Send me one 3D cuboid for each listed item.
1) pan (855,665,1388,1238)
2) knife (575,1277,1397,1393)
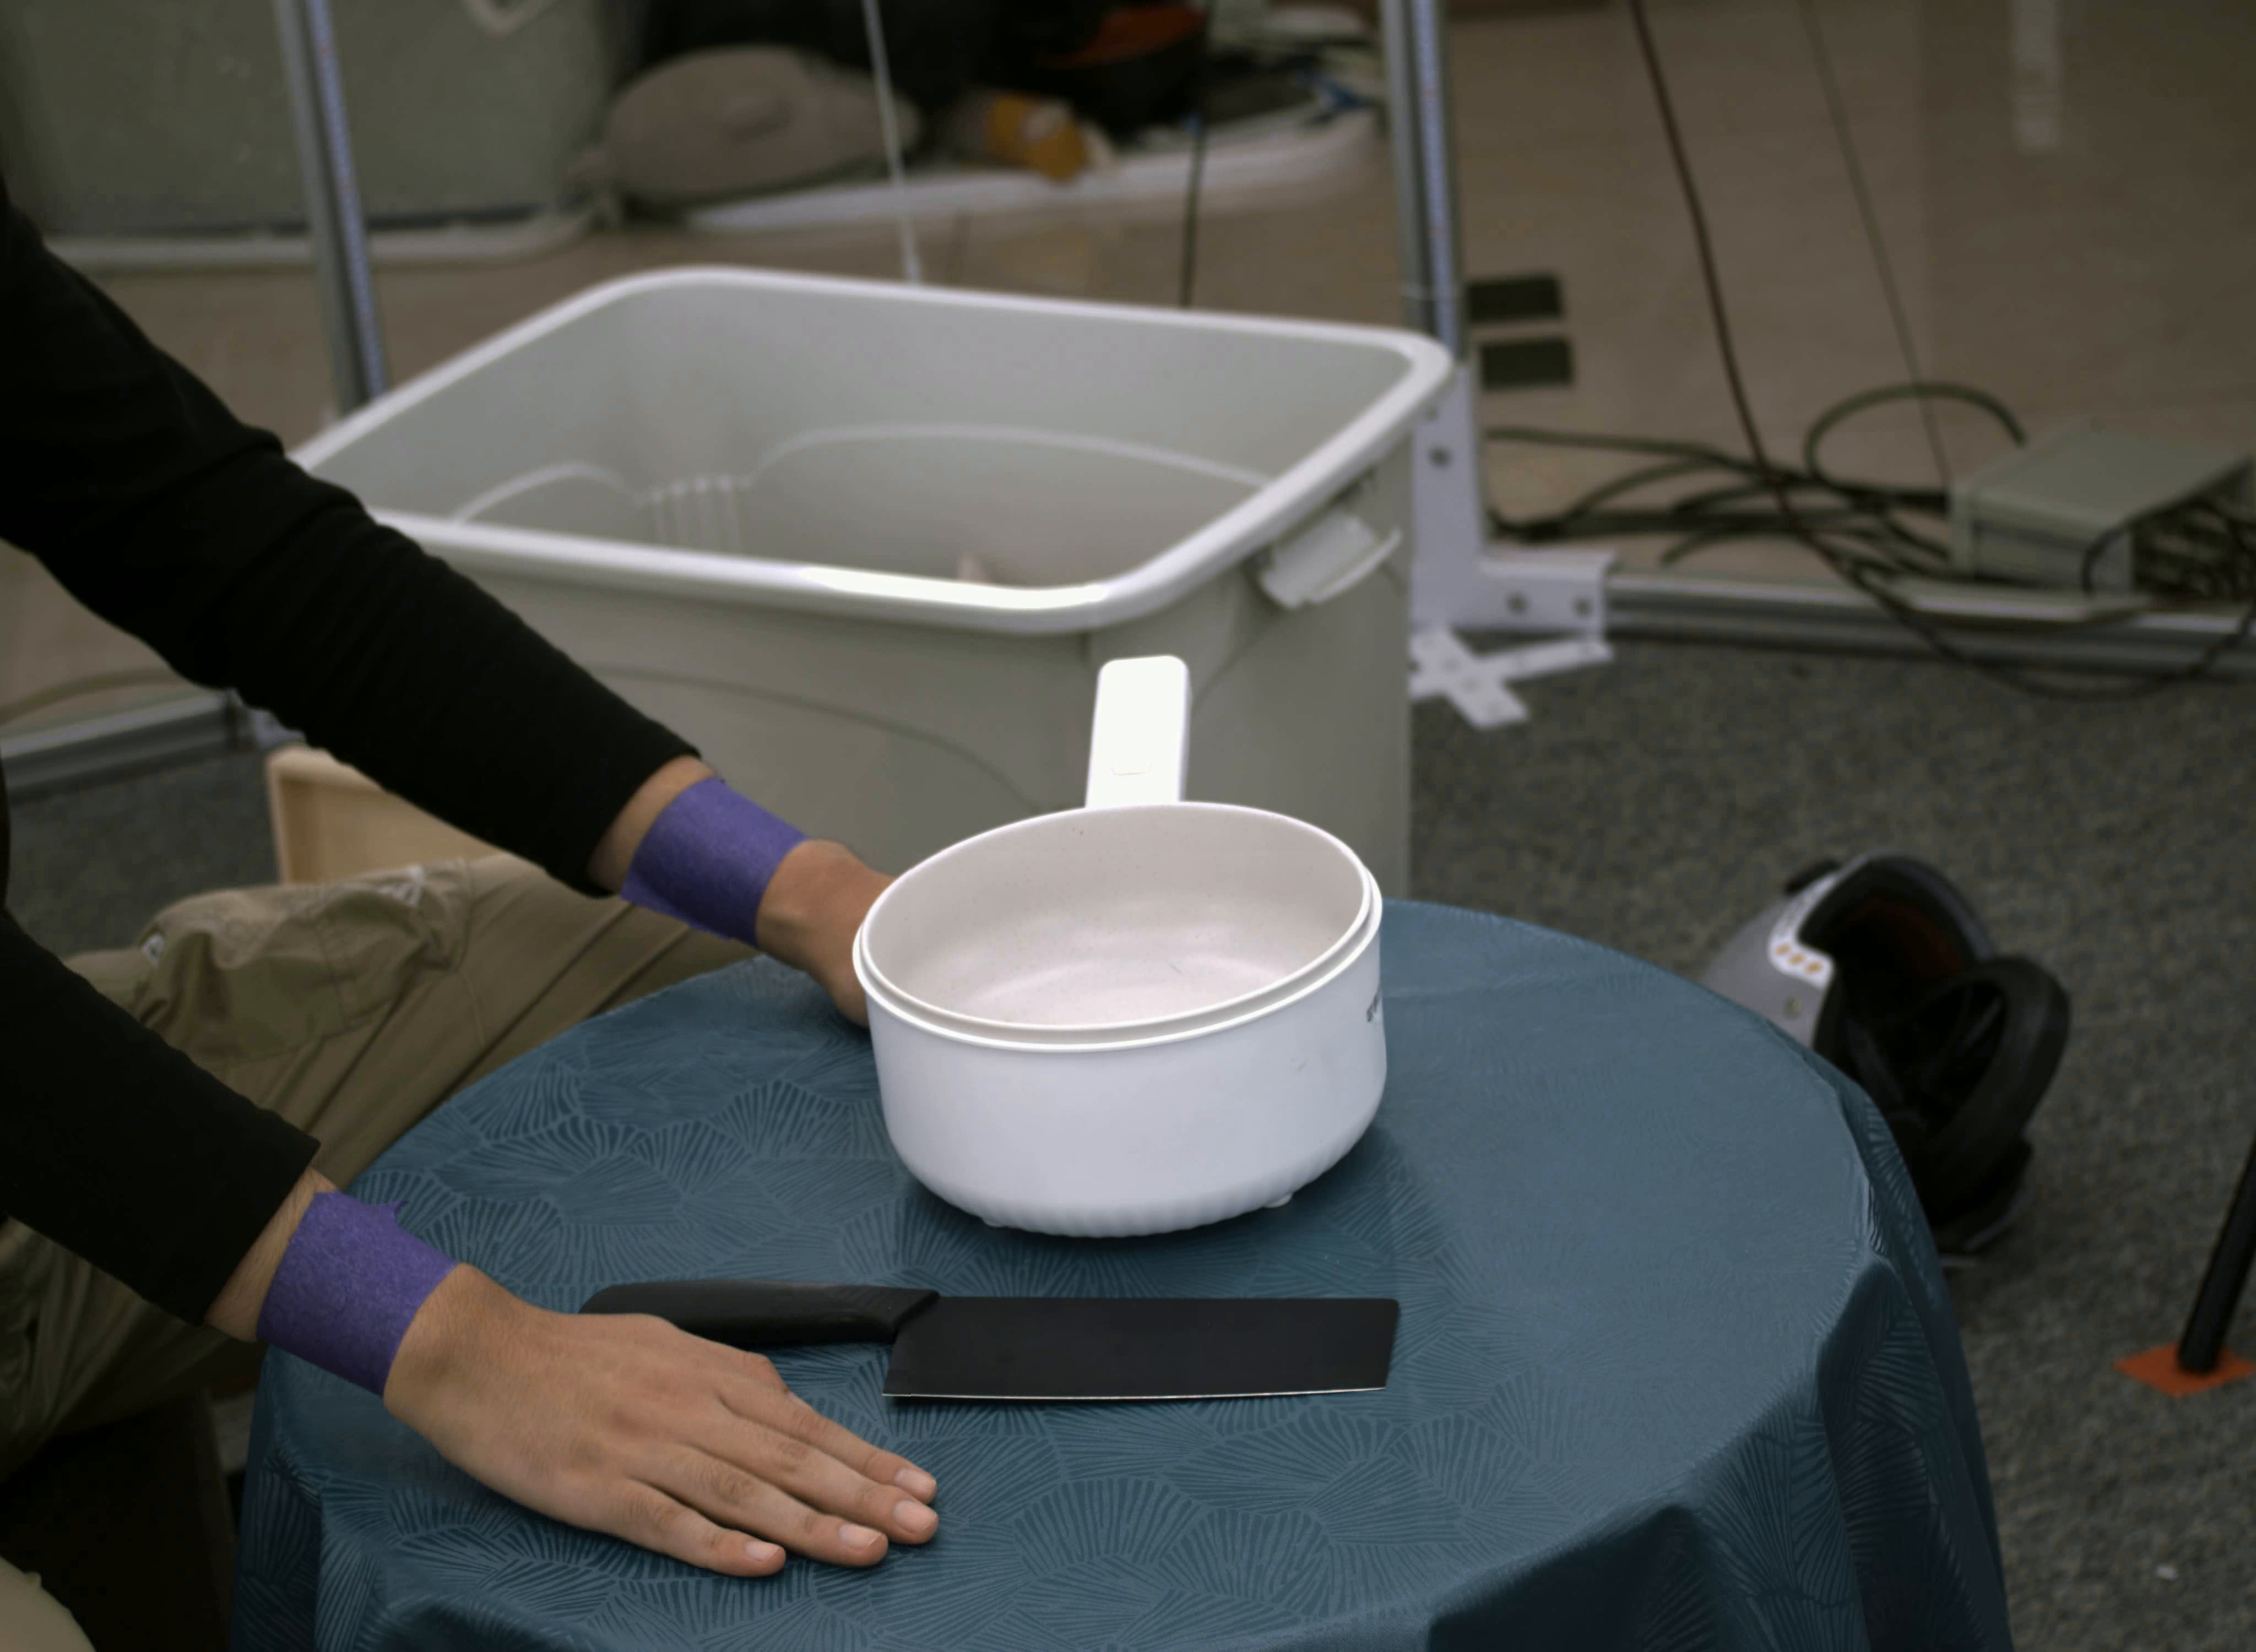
[{"bbox_3d":[0.005,0.047,2.231,0.201,0.103,0.350,-5,24,6],"label":"pan"},{"bbox_3d":[-0.053,0.185,2.049,0.301,0.021,0.080,2,27,13],"label":"knife"}]
